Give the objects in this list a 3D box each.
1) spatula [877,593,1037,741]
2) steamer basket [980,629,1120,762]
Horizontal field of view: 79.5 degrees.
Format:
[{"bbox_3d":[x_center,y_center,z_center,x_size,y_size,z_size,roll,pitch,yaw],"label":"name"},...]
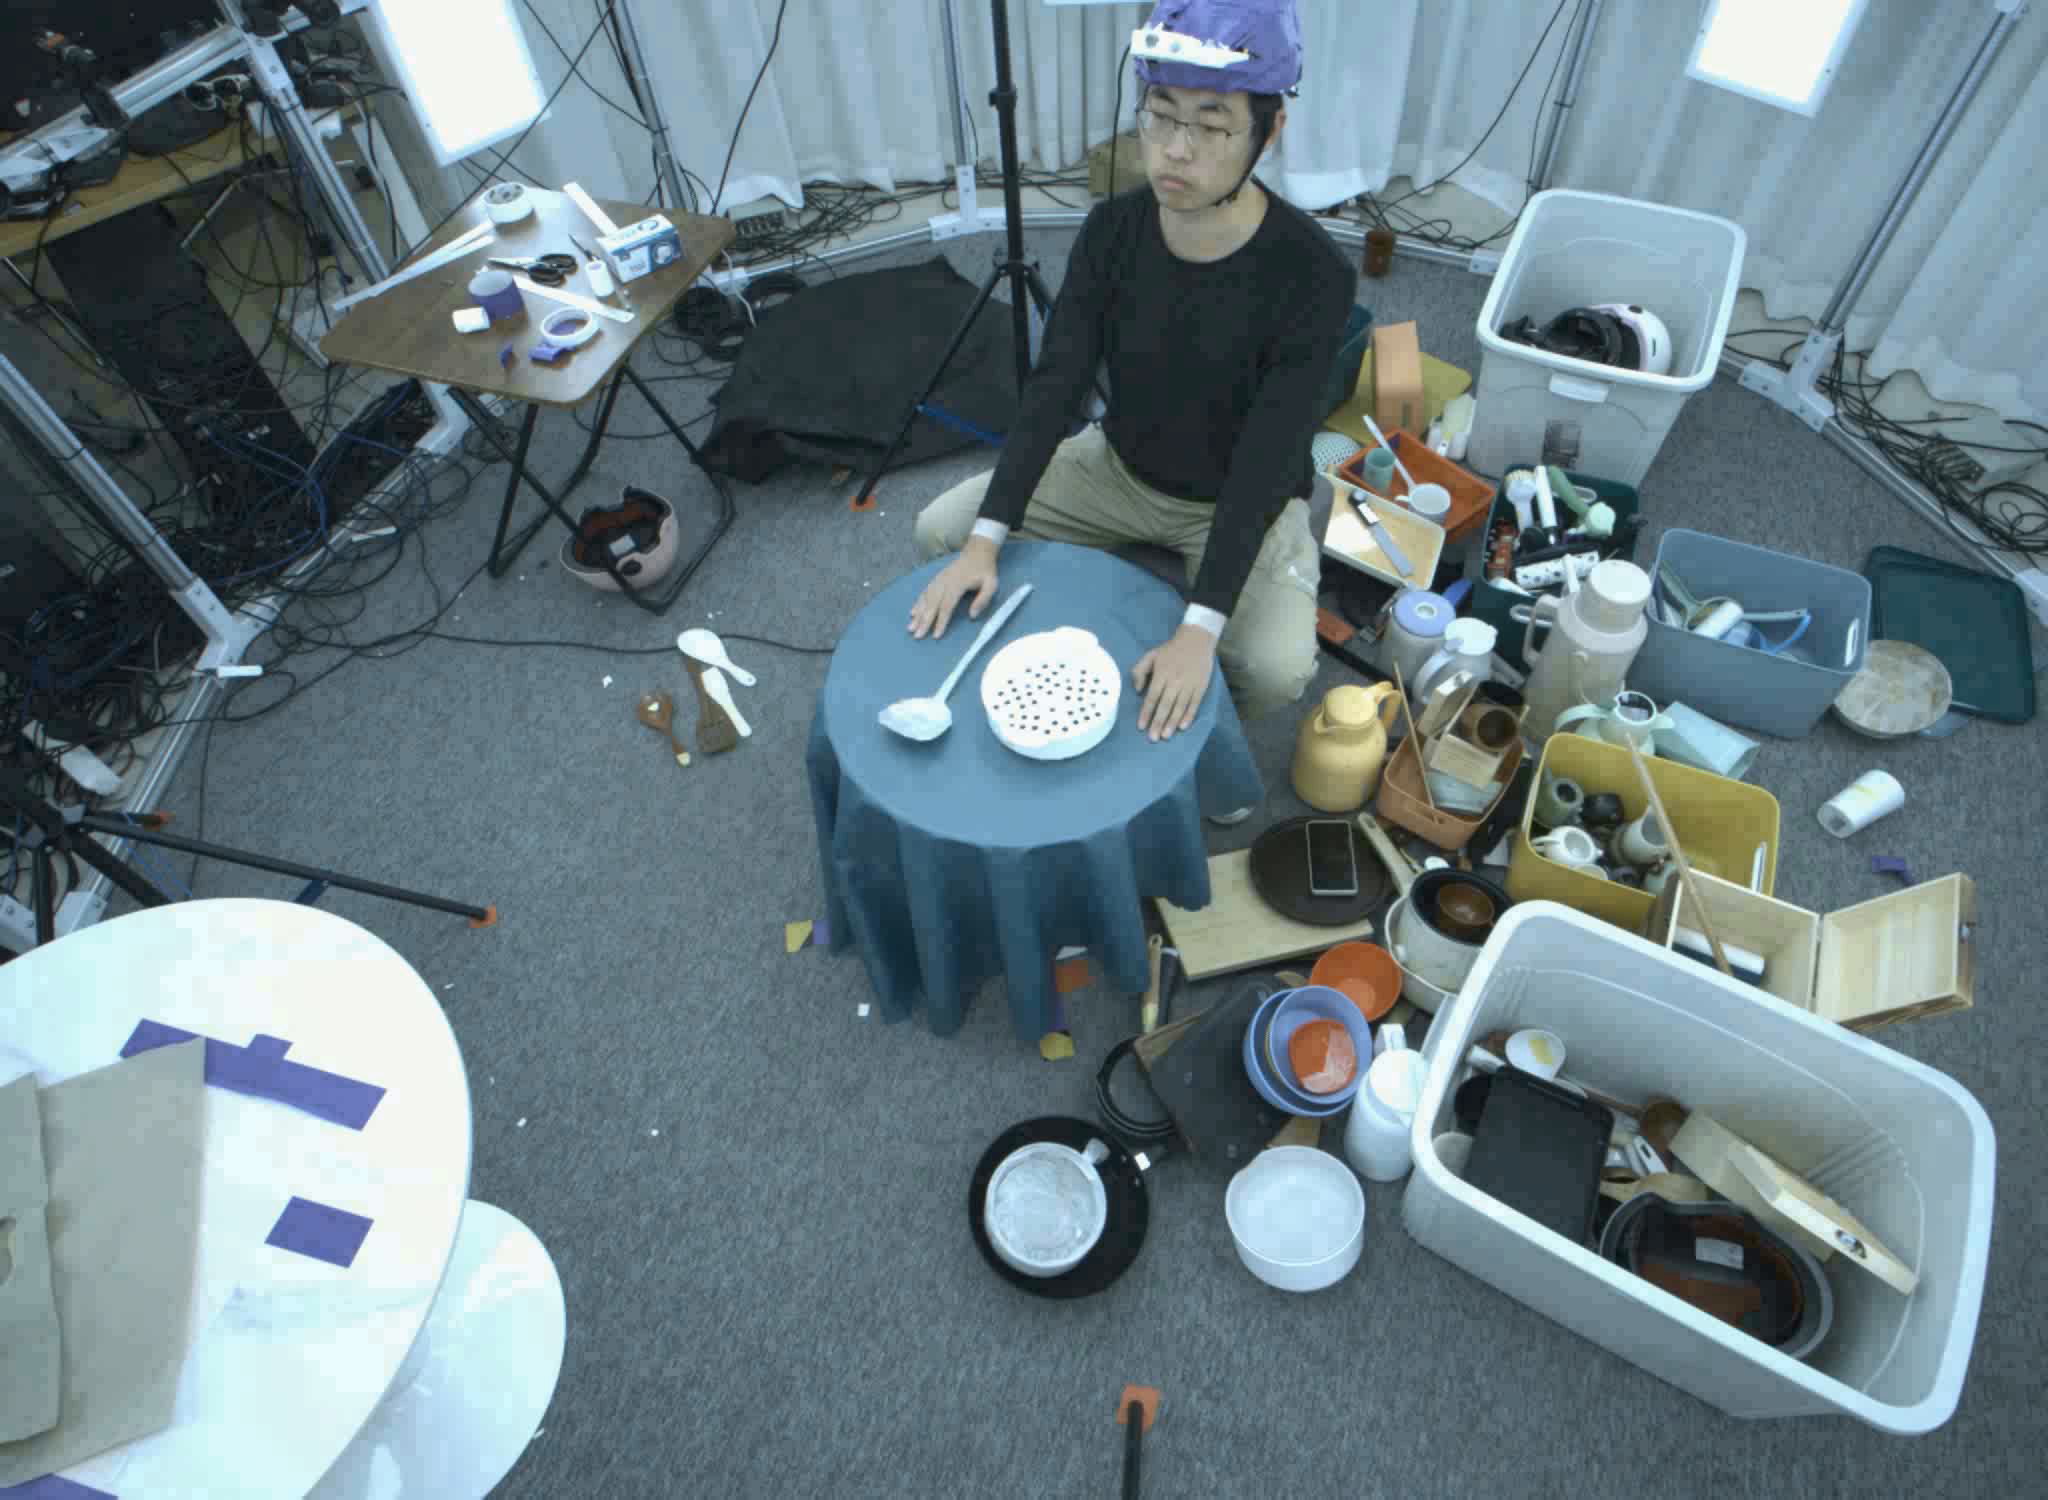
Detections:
[{"bbox_3d":[-0.085,-0.140,1.866,0.097,0.045,0.366,24,59,20],"label":"spatula"},{"bbox_3d":[0.038,-0.075,1.797,0.200,0.070,0.230,19,57,14],"label":"steamer basket"}]
